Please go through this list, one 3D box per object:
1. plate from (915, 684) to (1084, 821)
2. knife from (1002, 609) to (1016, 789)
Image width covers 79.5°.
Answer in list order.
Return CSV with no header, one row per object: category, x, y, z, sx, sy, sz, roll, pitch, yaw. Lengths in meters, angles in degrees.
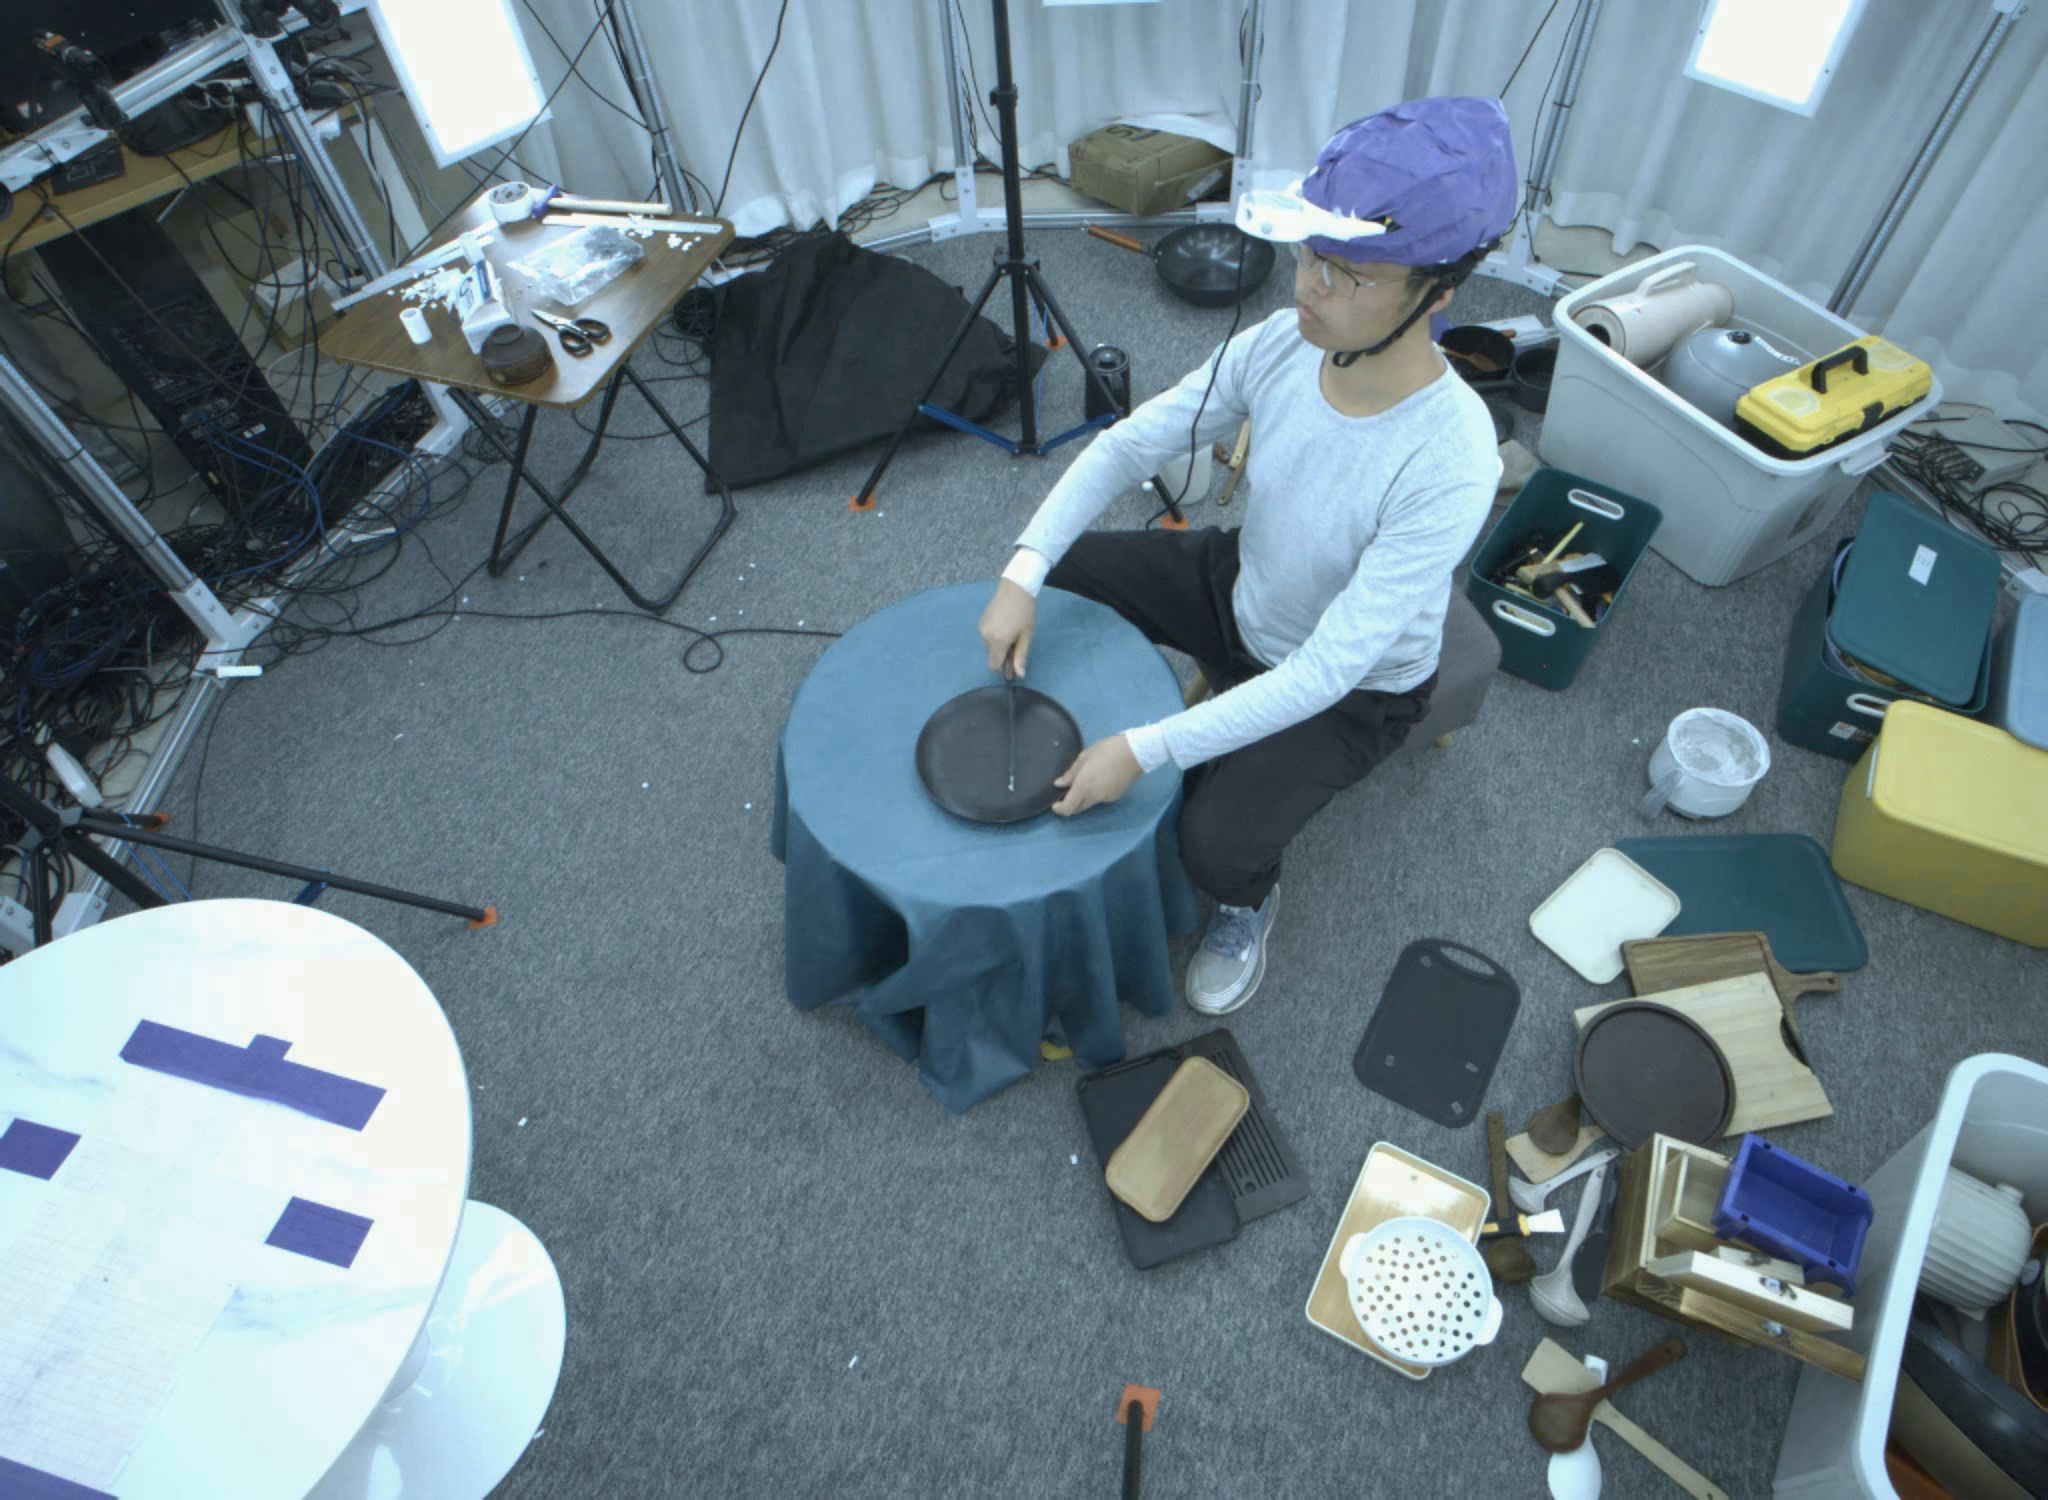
plate,-0.036,0.005,1.778,0.244,0.023,0.242,0,54,1
knife,-0.020,-0.077,1.791,0.020,0.051,0.286,-3,67,4
